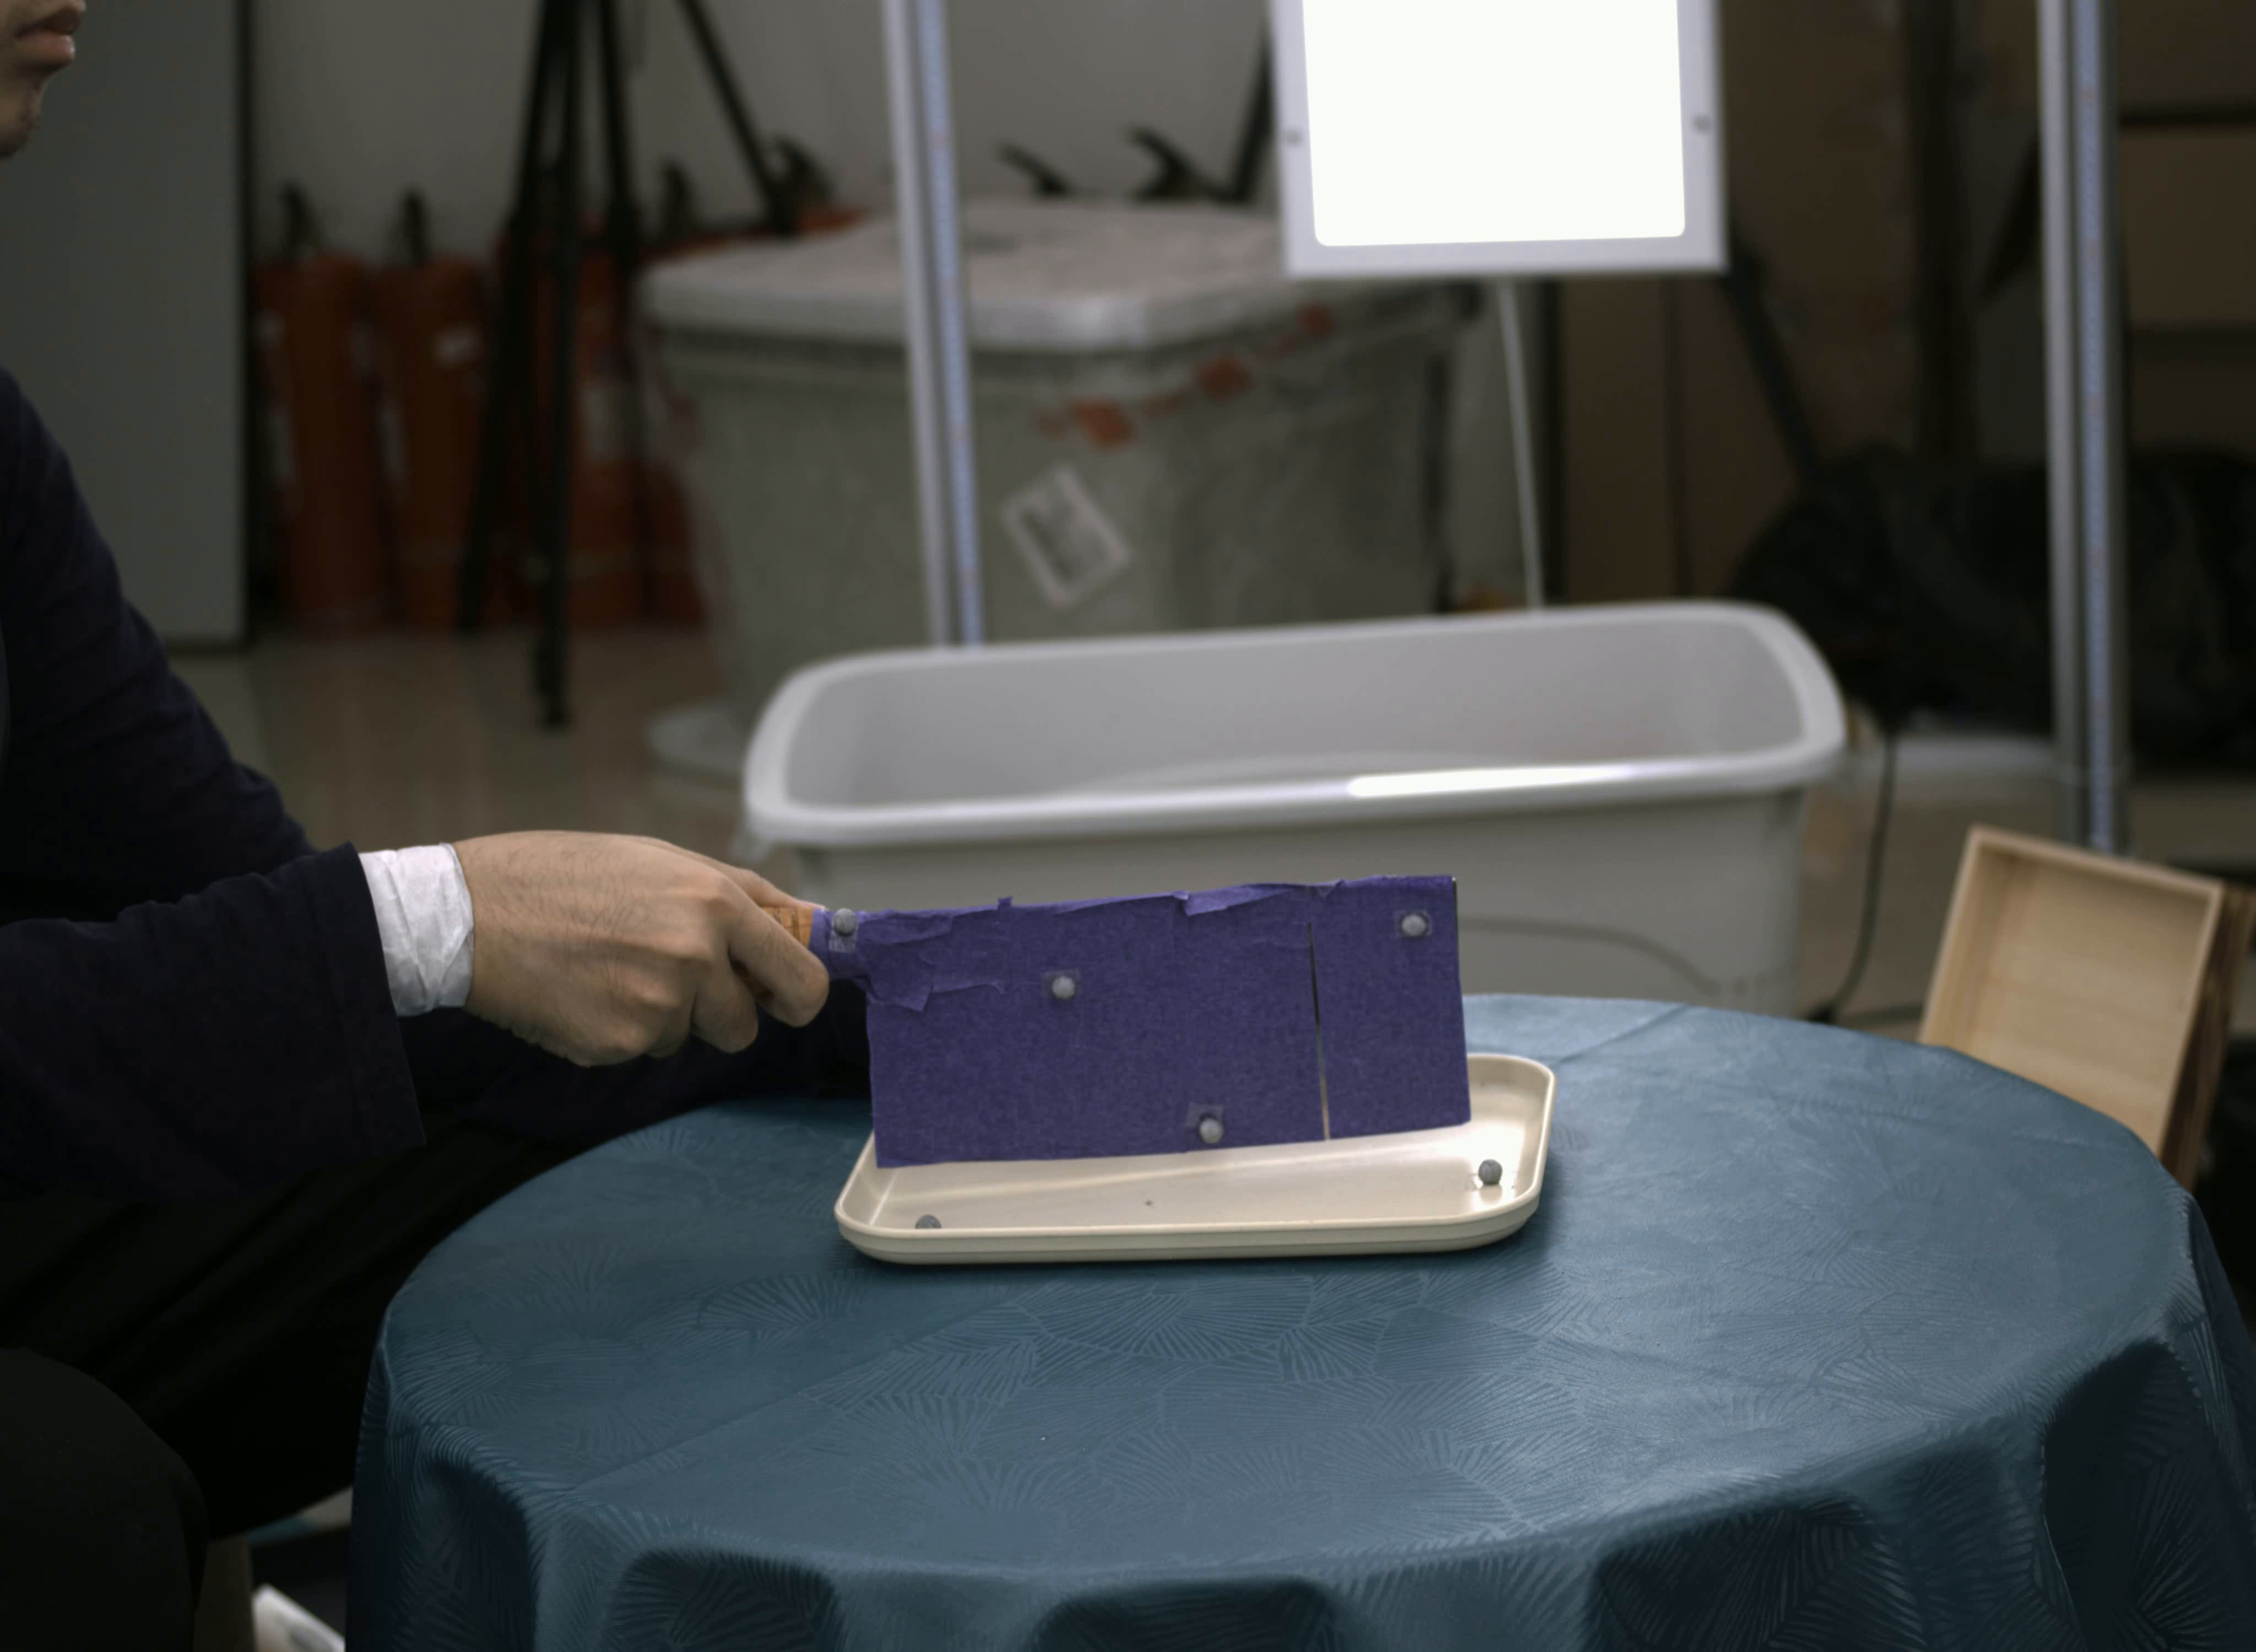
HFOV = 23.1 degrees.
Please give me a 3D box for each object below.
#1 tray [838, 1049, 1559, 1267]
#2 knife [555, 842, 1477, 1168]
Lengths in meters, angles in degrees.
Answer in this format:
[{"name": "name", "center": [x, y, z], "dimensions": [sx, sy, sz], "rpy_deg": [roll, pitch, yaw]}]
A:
[{"name": "tray", "center": [0.027, 0.115, 1.891], "dimensions": [0.241, 0.017, 0.169], "rpy_deg": [-2, 17, 11]}, {"name": "knife", "center": [-0.036, 0.069, 1.884], "dimensions": [0.314, 0.104, 0.032], "rpy_deg": [-4, 8, 0]}]
